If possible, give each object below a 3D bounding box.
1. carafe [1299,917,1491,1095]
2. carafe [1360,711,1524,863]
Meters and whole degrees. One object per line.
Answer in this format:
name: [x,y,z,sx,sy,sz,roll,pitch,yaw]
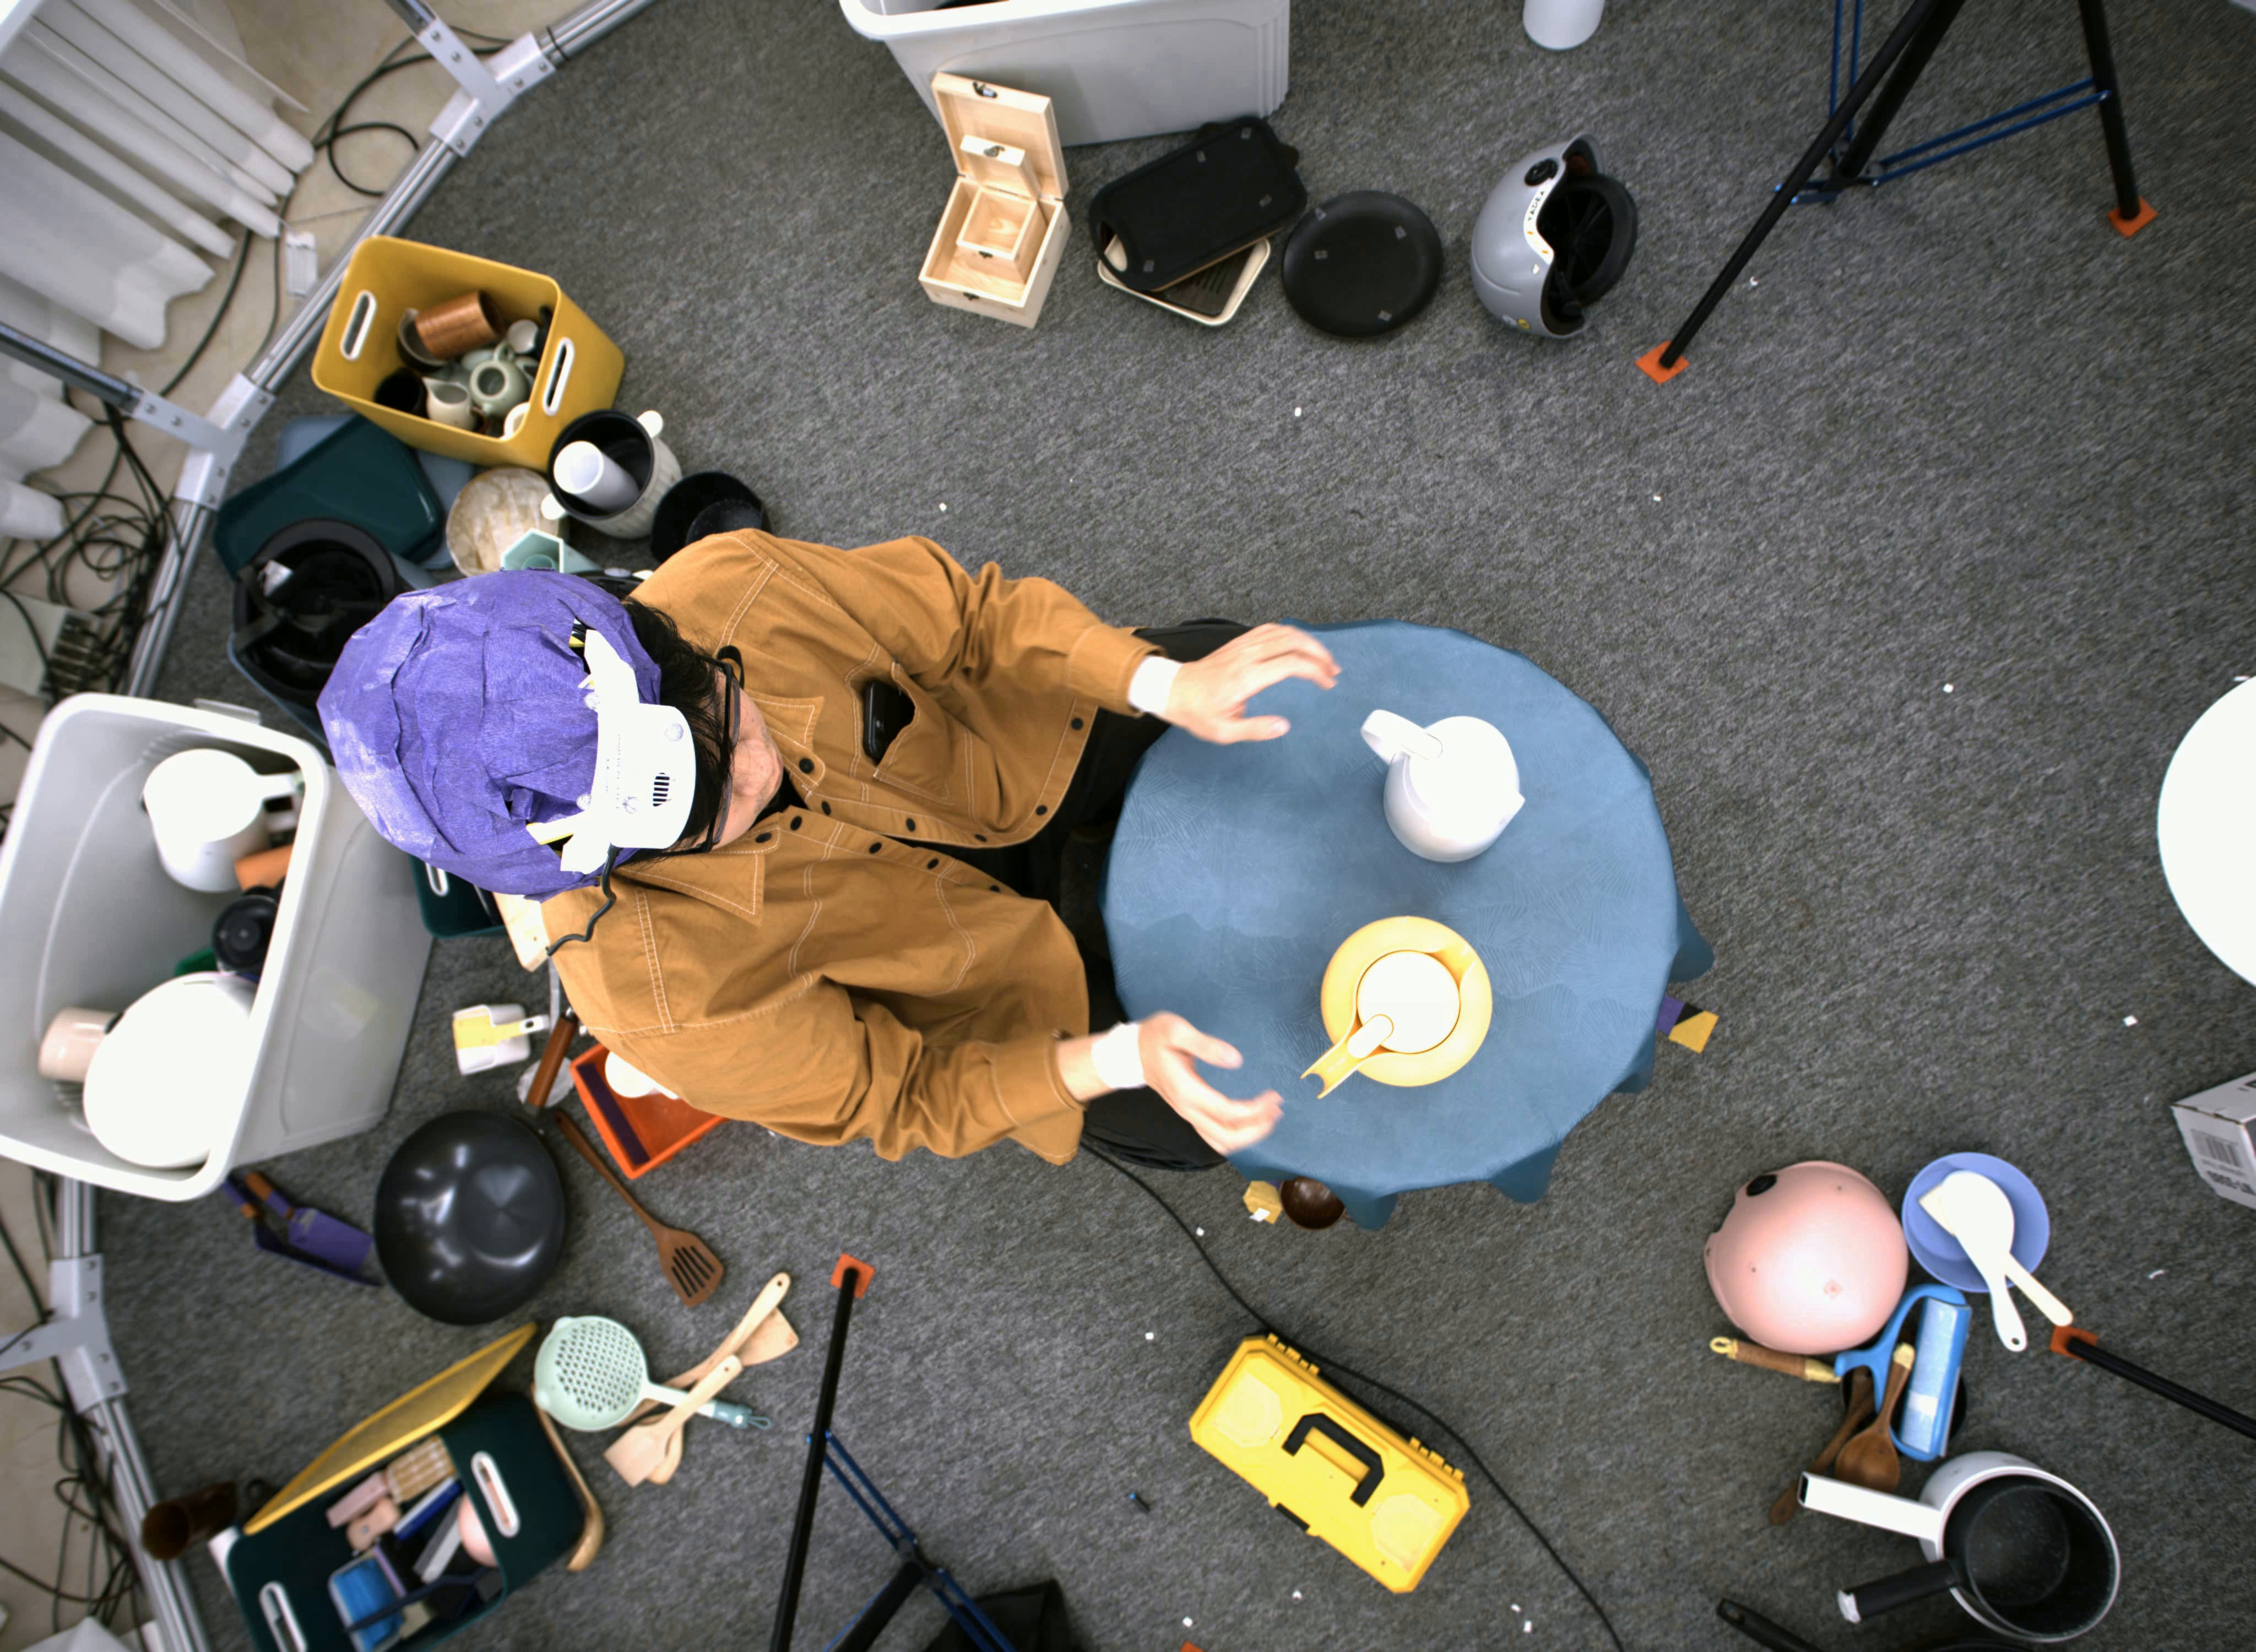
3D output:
carafe: [0.249,0.178,1.328,0.203,0.261,0.162,-40,78,4]
carafe: [0.300,-0.050,1.336,0.167,0.249,0.133,34,92,12]
